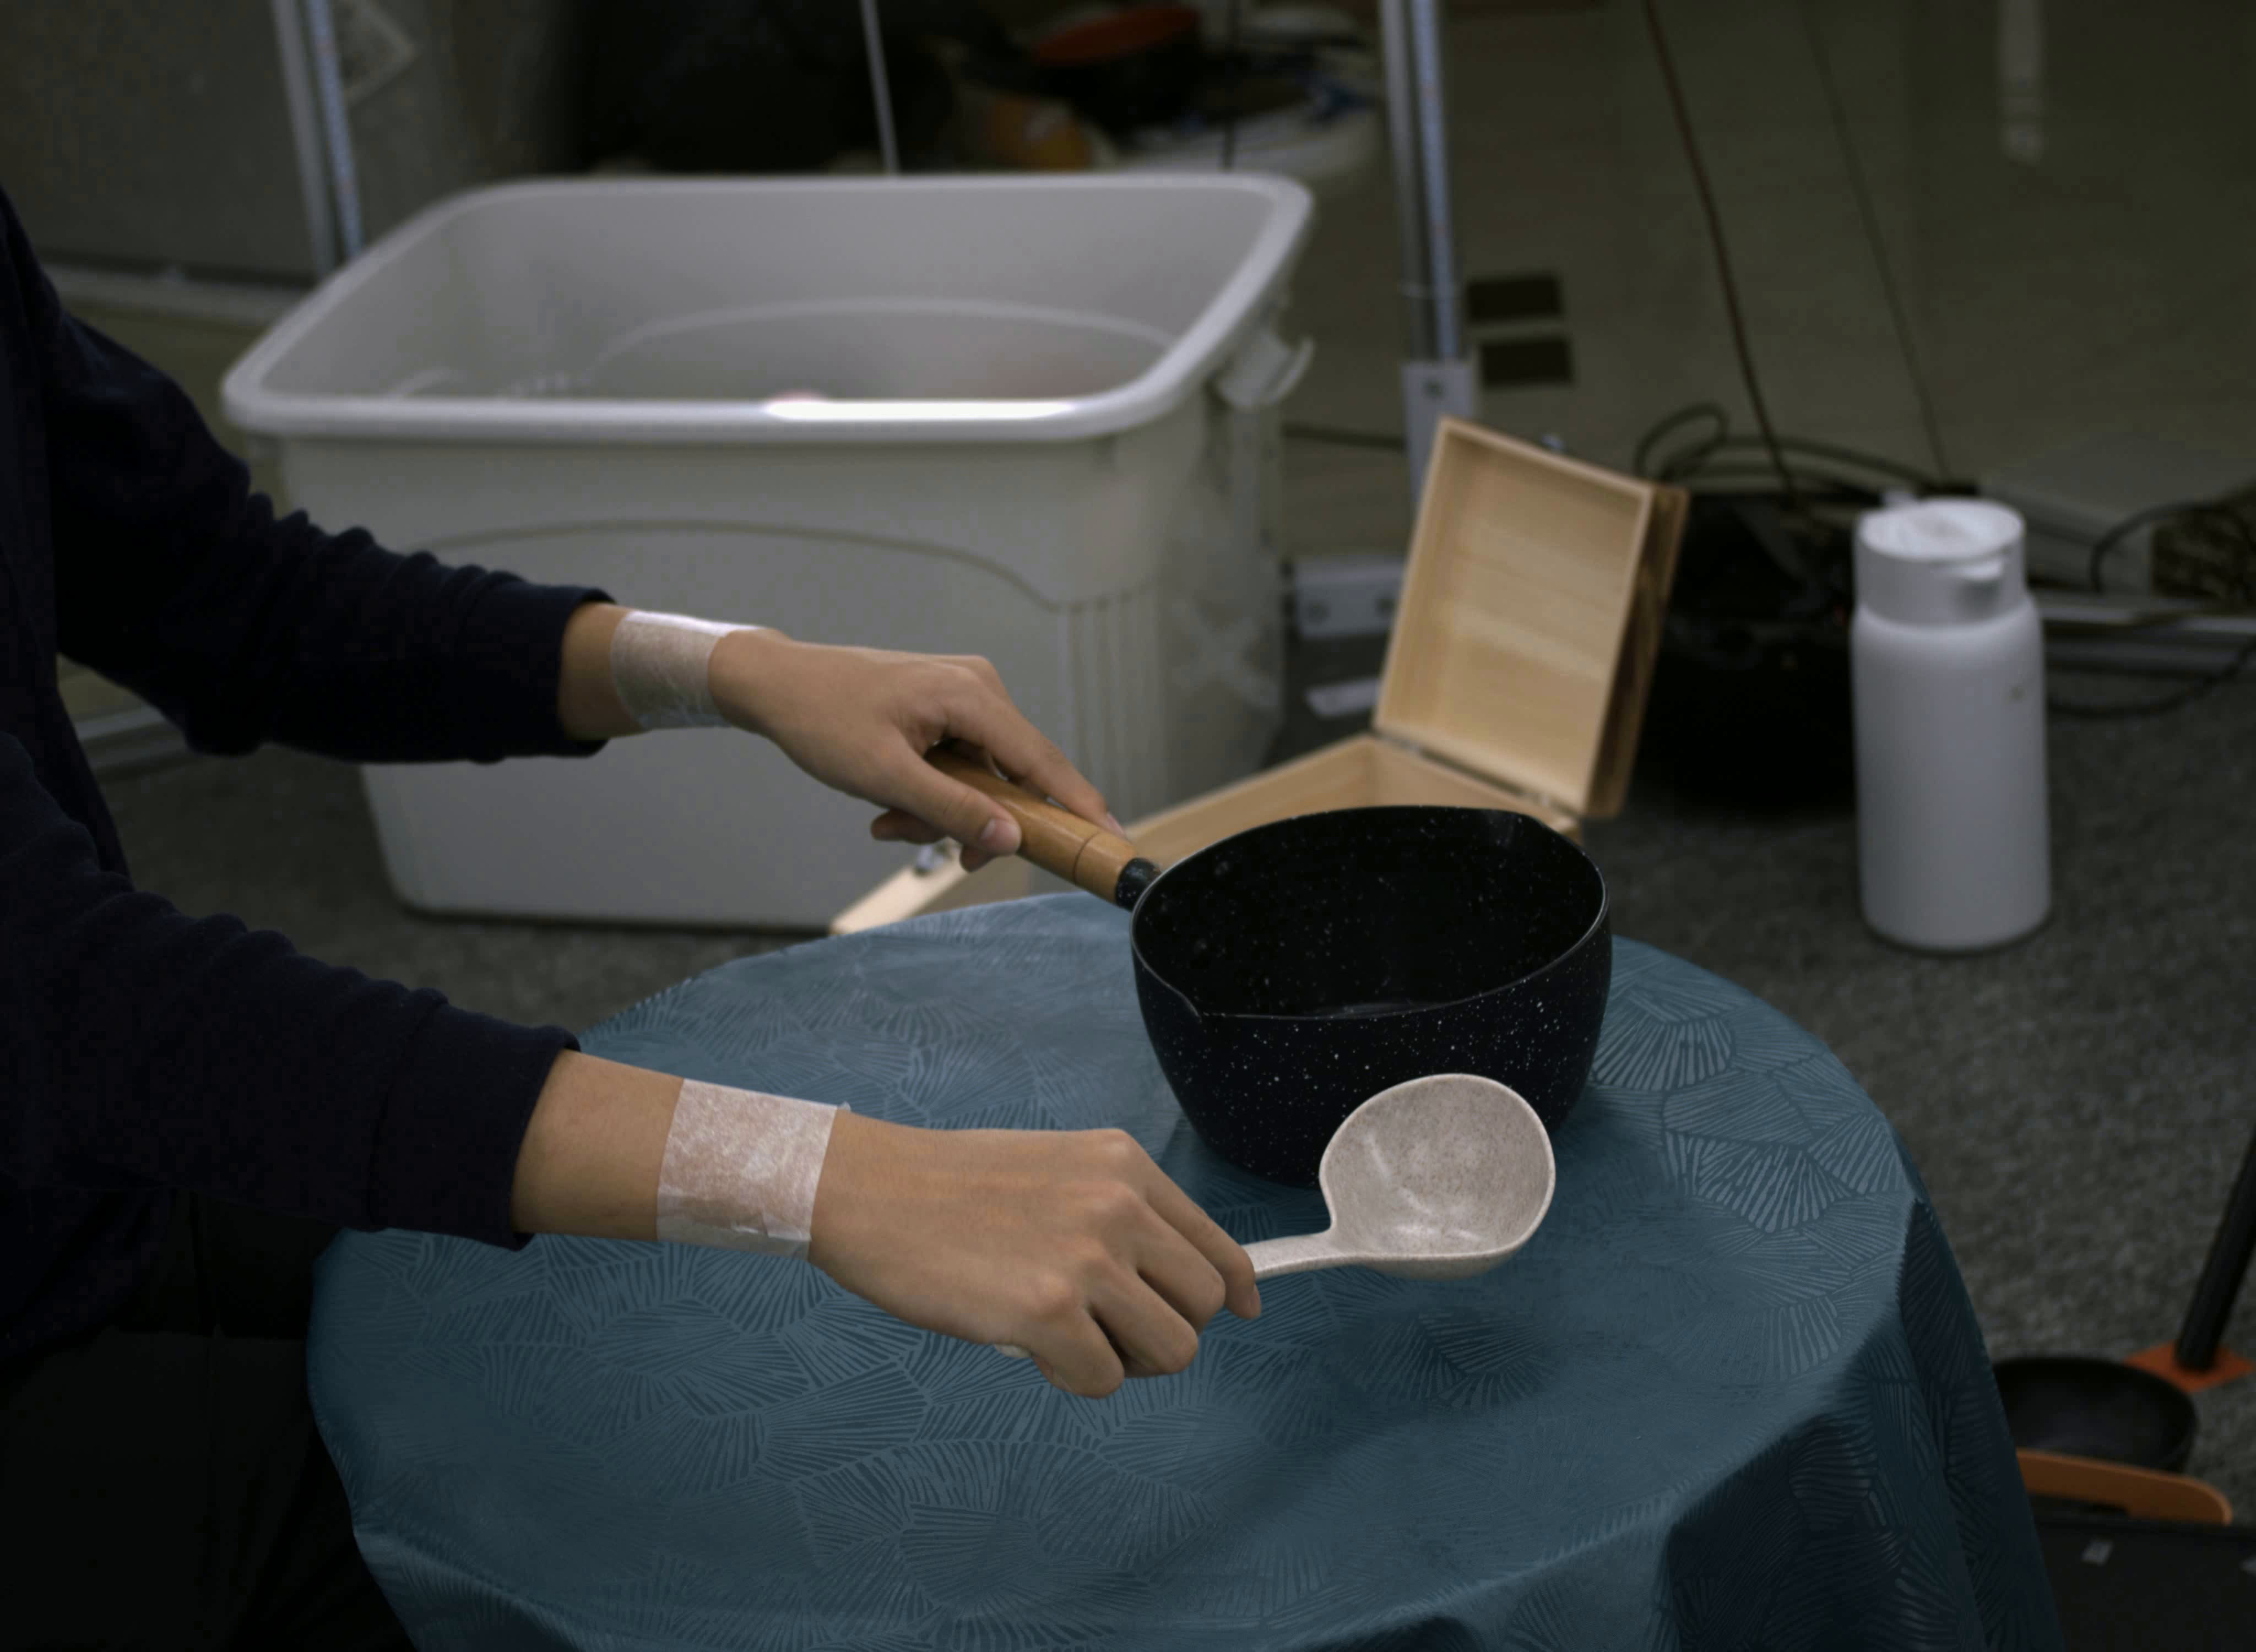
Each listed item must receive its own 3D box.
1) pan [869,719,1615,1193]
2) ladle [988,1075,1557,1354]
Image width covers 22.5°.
[{"bbox_3d":[0.033,0.043,2.215,0.340,0.110,0.205,15,34,36],"label":"pan"},{"bbox_3d":[0.047,0.129,1.913,0.088,0.070,0.274,29,18,31],"label":"ladle"}]
